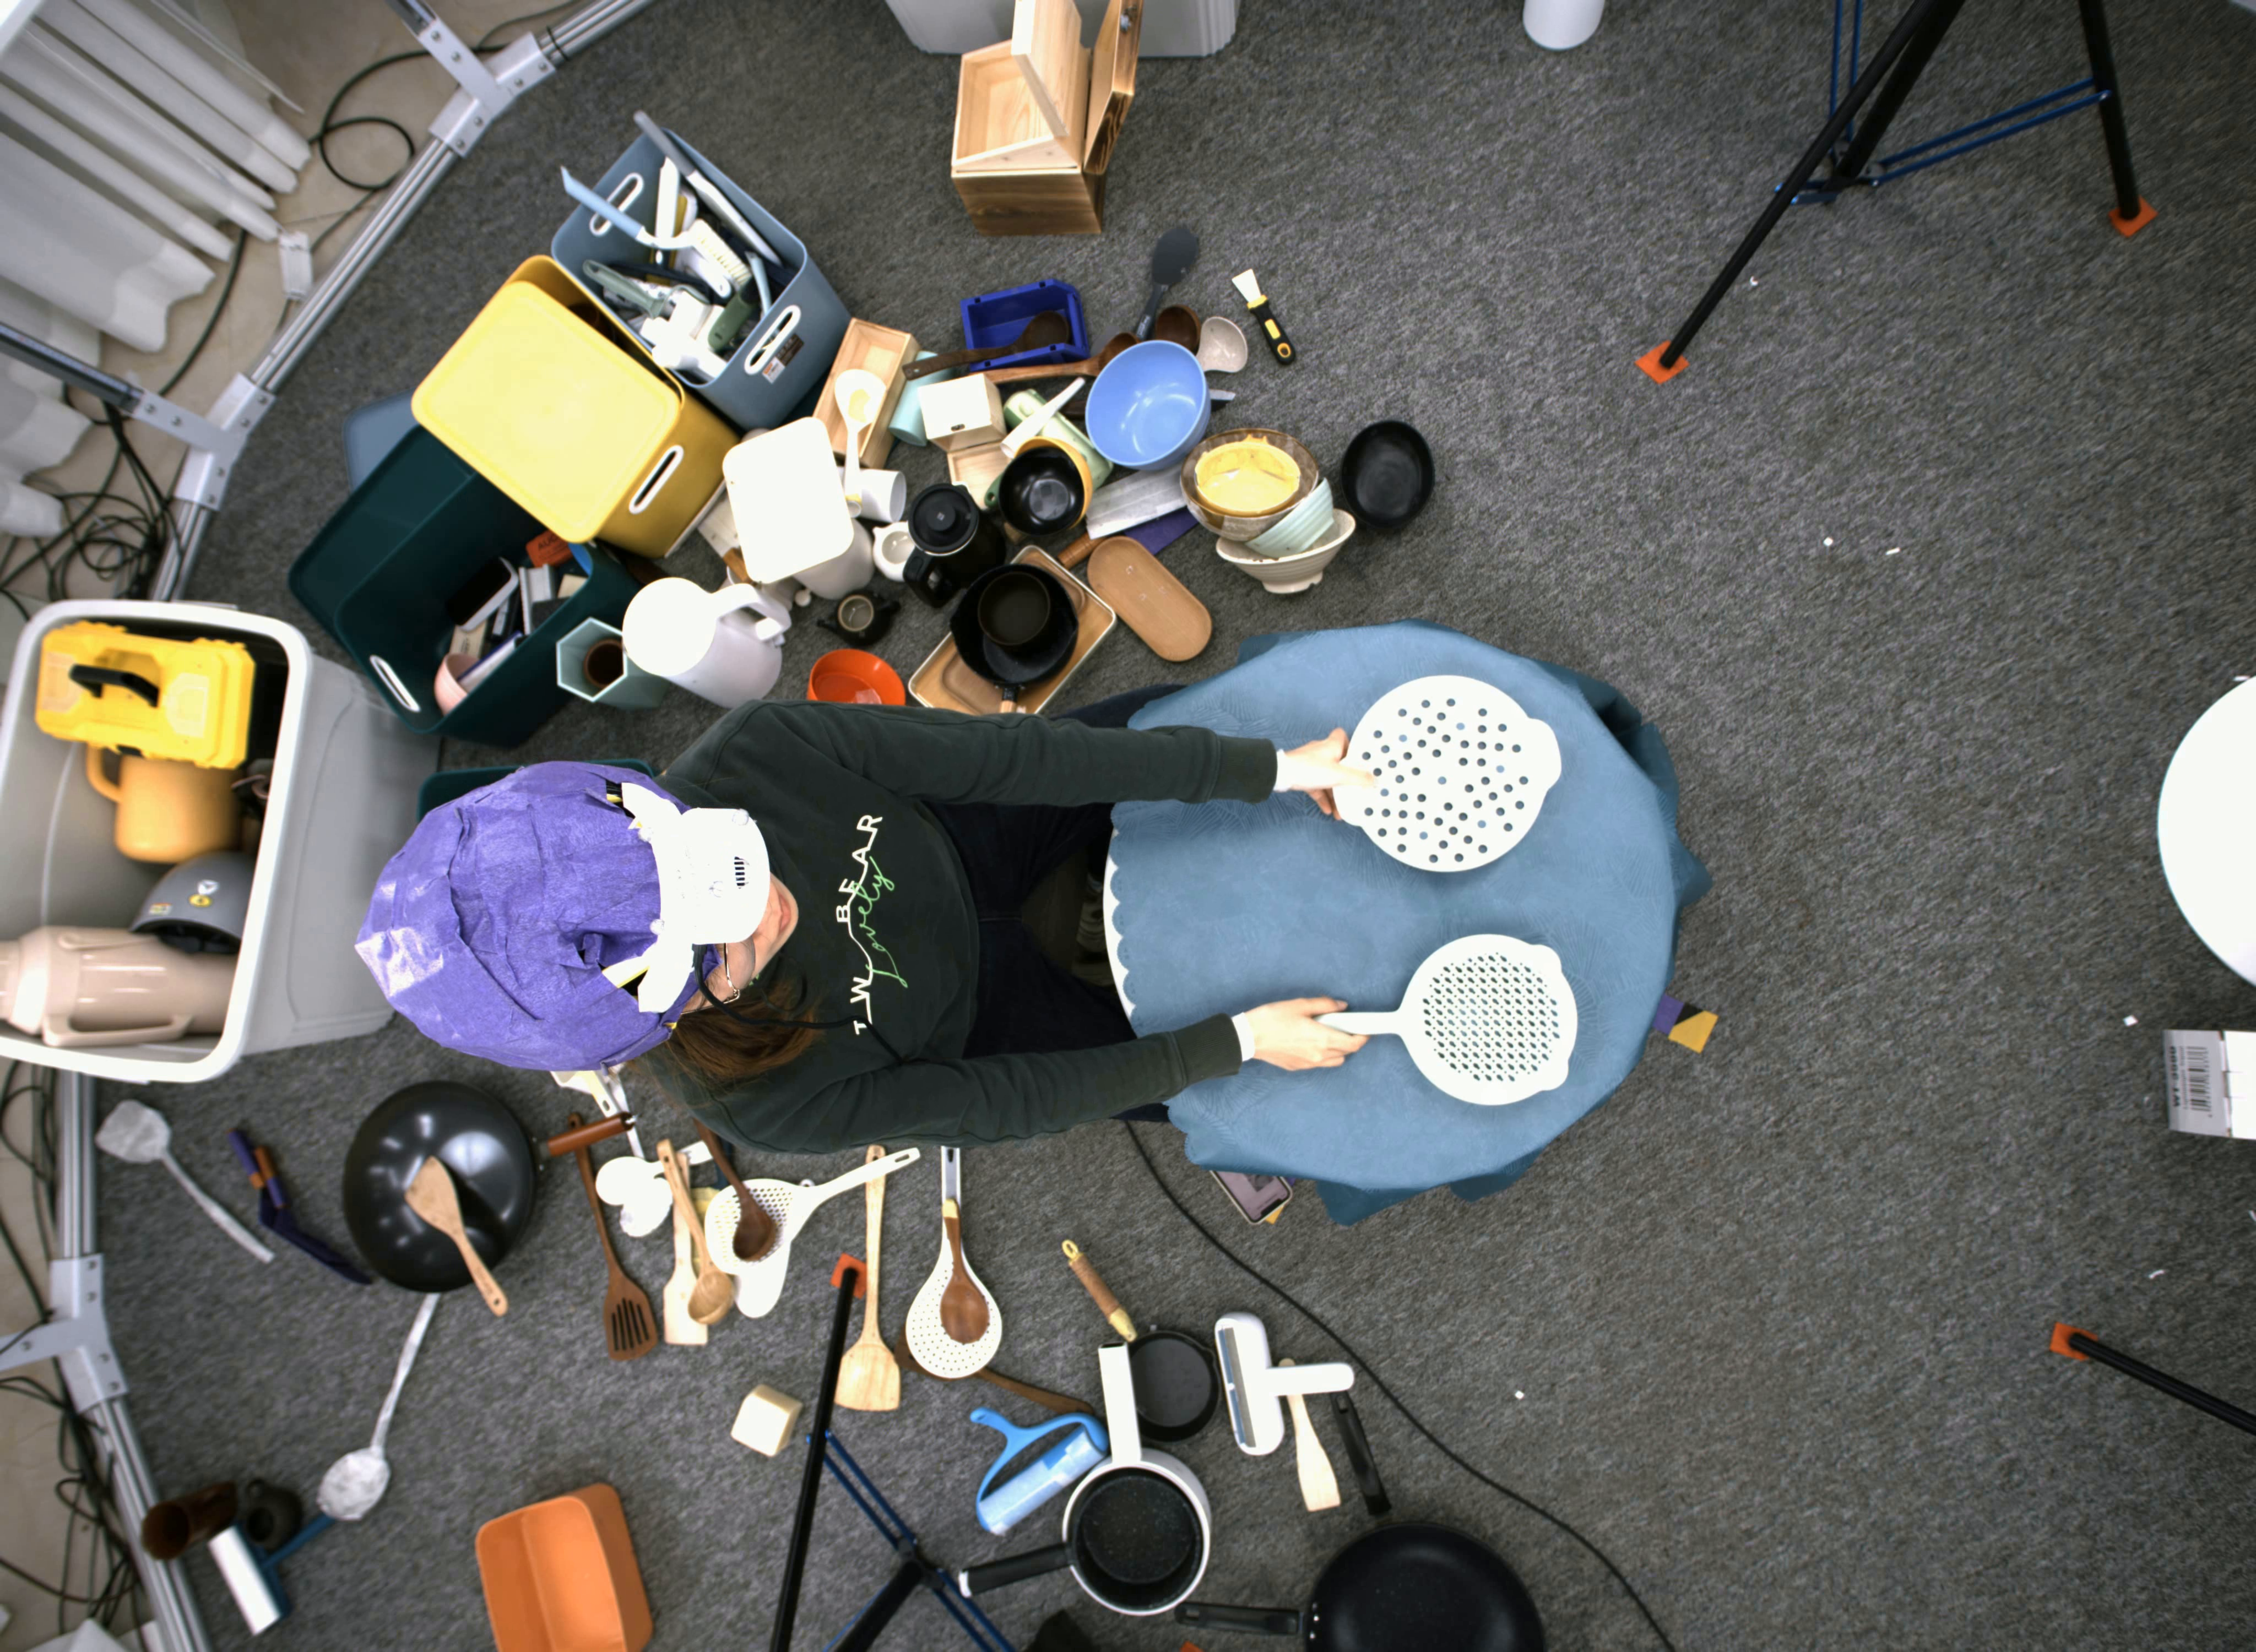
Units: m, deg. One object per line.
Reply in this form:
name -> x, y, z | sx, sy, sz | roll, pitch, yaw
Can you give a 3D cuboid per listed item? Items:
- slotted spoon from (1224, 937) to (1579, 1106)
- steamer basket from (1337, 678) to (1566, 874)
slotted spoon -> 0.274, 0.202, 1.422 | 0.360, 0.075, 0.168 | -3, 85, 10
steamer basket -> 0.334, -0.051, 1.429 | 0.232, 0.069, 0.200 | -13, 83, 9
